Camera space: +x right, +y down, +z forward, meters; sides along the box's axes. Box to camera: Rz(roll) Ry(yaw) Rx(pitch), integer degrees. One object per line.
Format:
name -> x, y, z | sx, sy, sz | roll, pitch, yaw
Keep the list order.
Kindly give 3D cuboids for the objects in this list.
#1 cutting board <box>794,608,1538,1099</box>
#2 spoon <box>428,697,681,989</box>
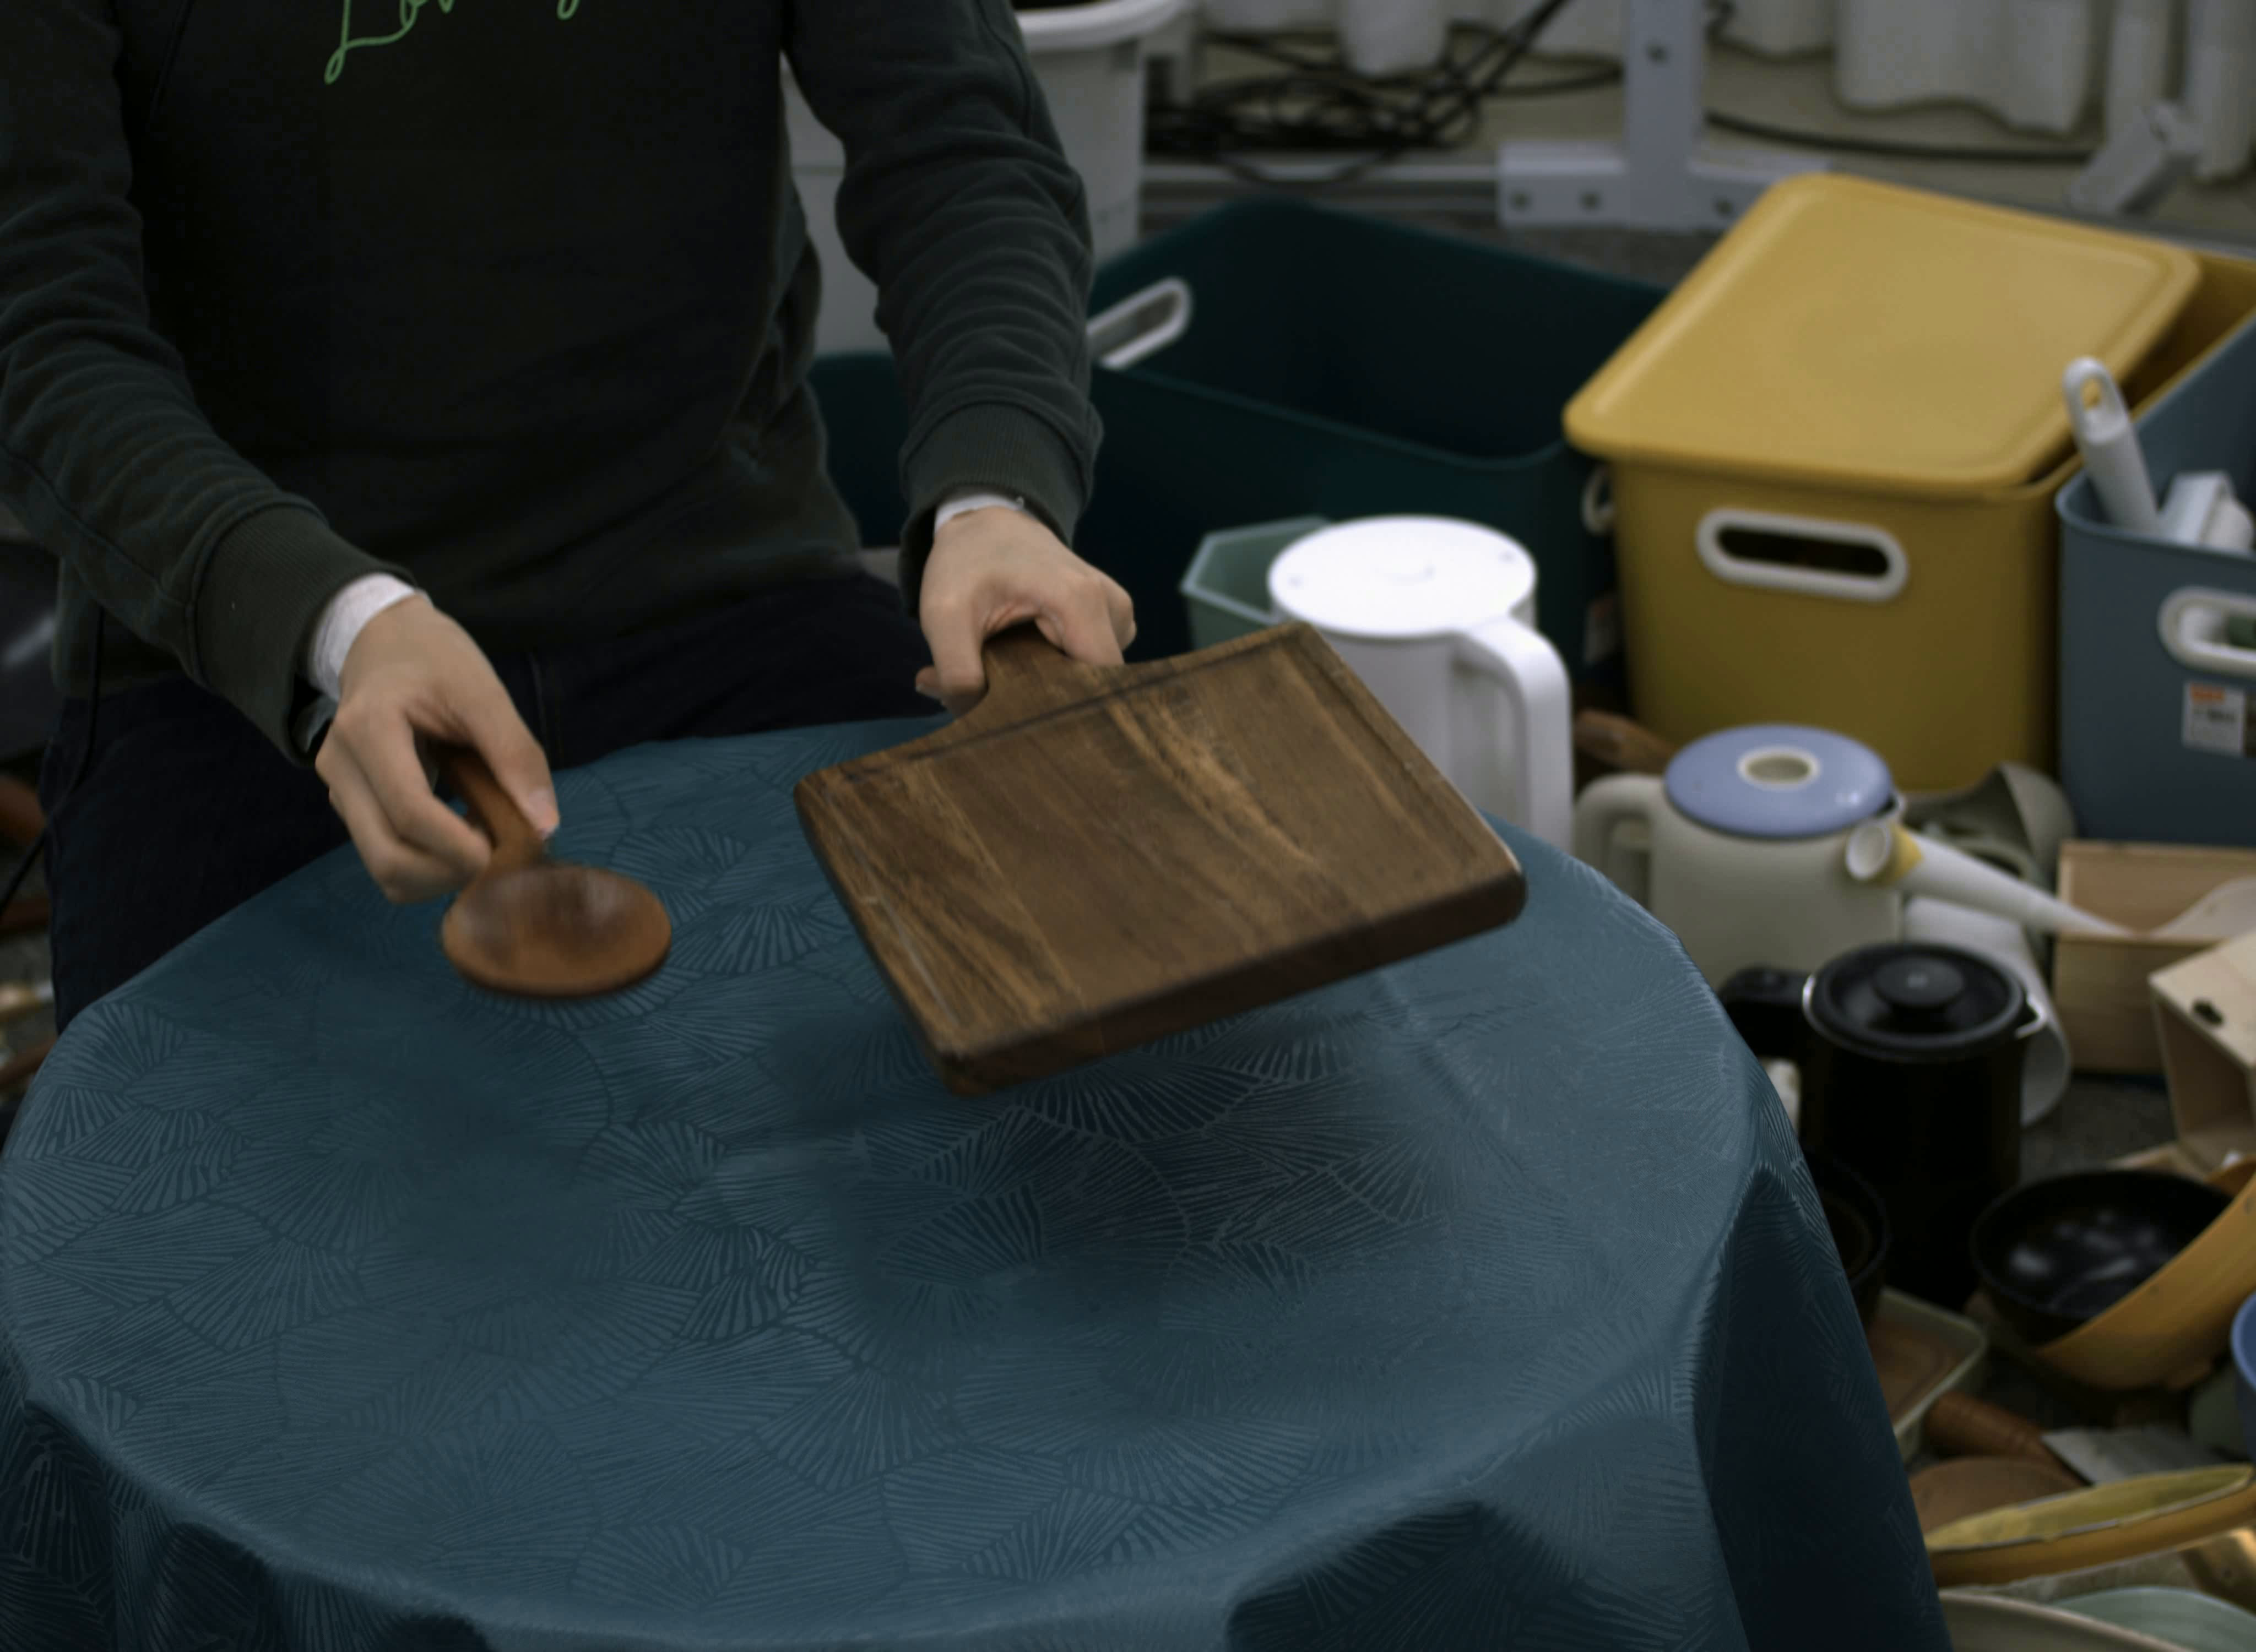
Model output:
cutting board -> -0.005, -0.011, 1.912 | 0.201, 0.023, 0.355 | -19, 23, -8
spoon -> -0.202, 0.007, 1.879 | 0.075, 0.017, 0.218 | -10, 28, -15
